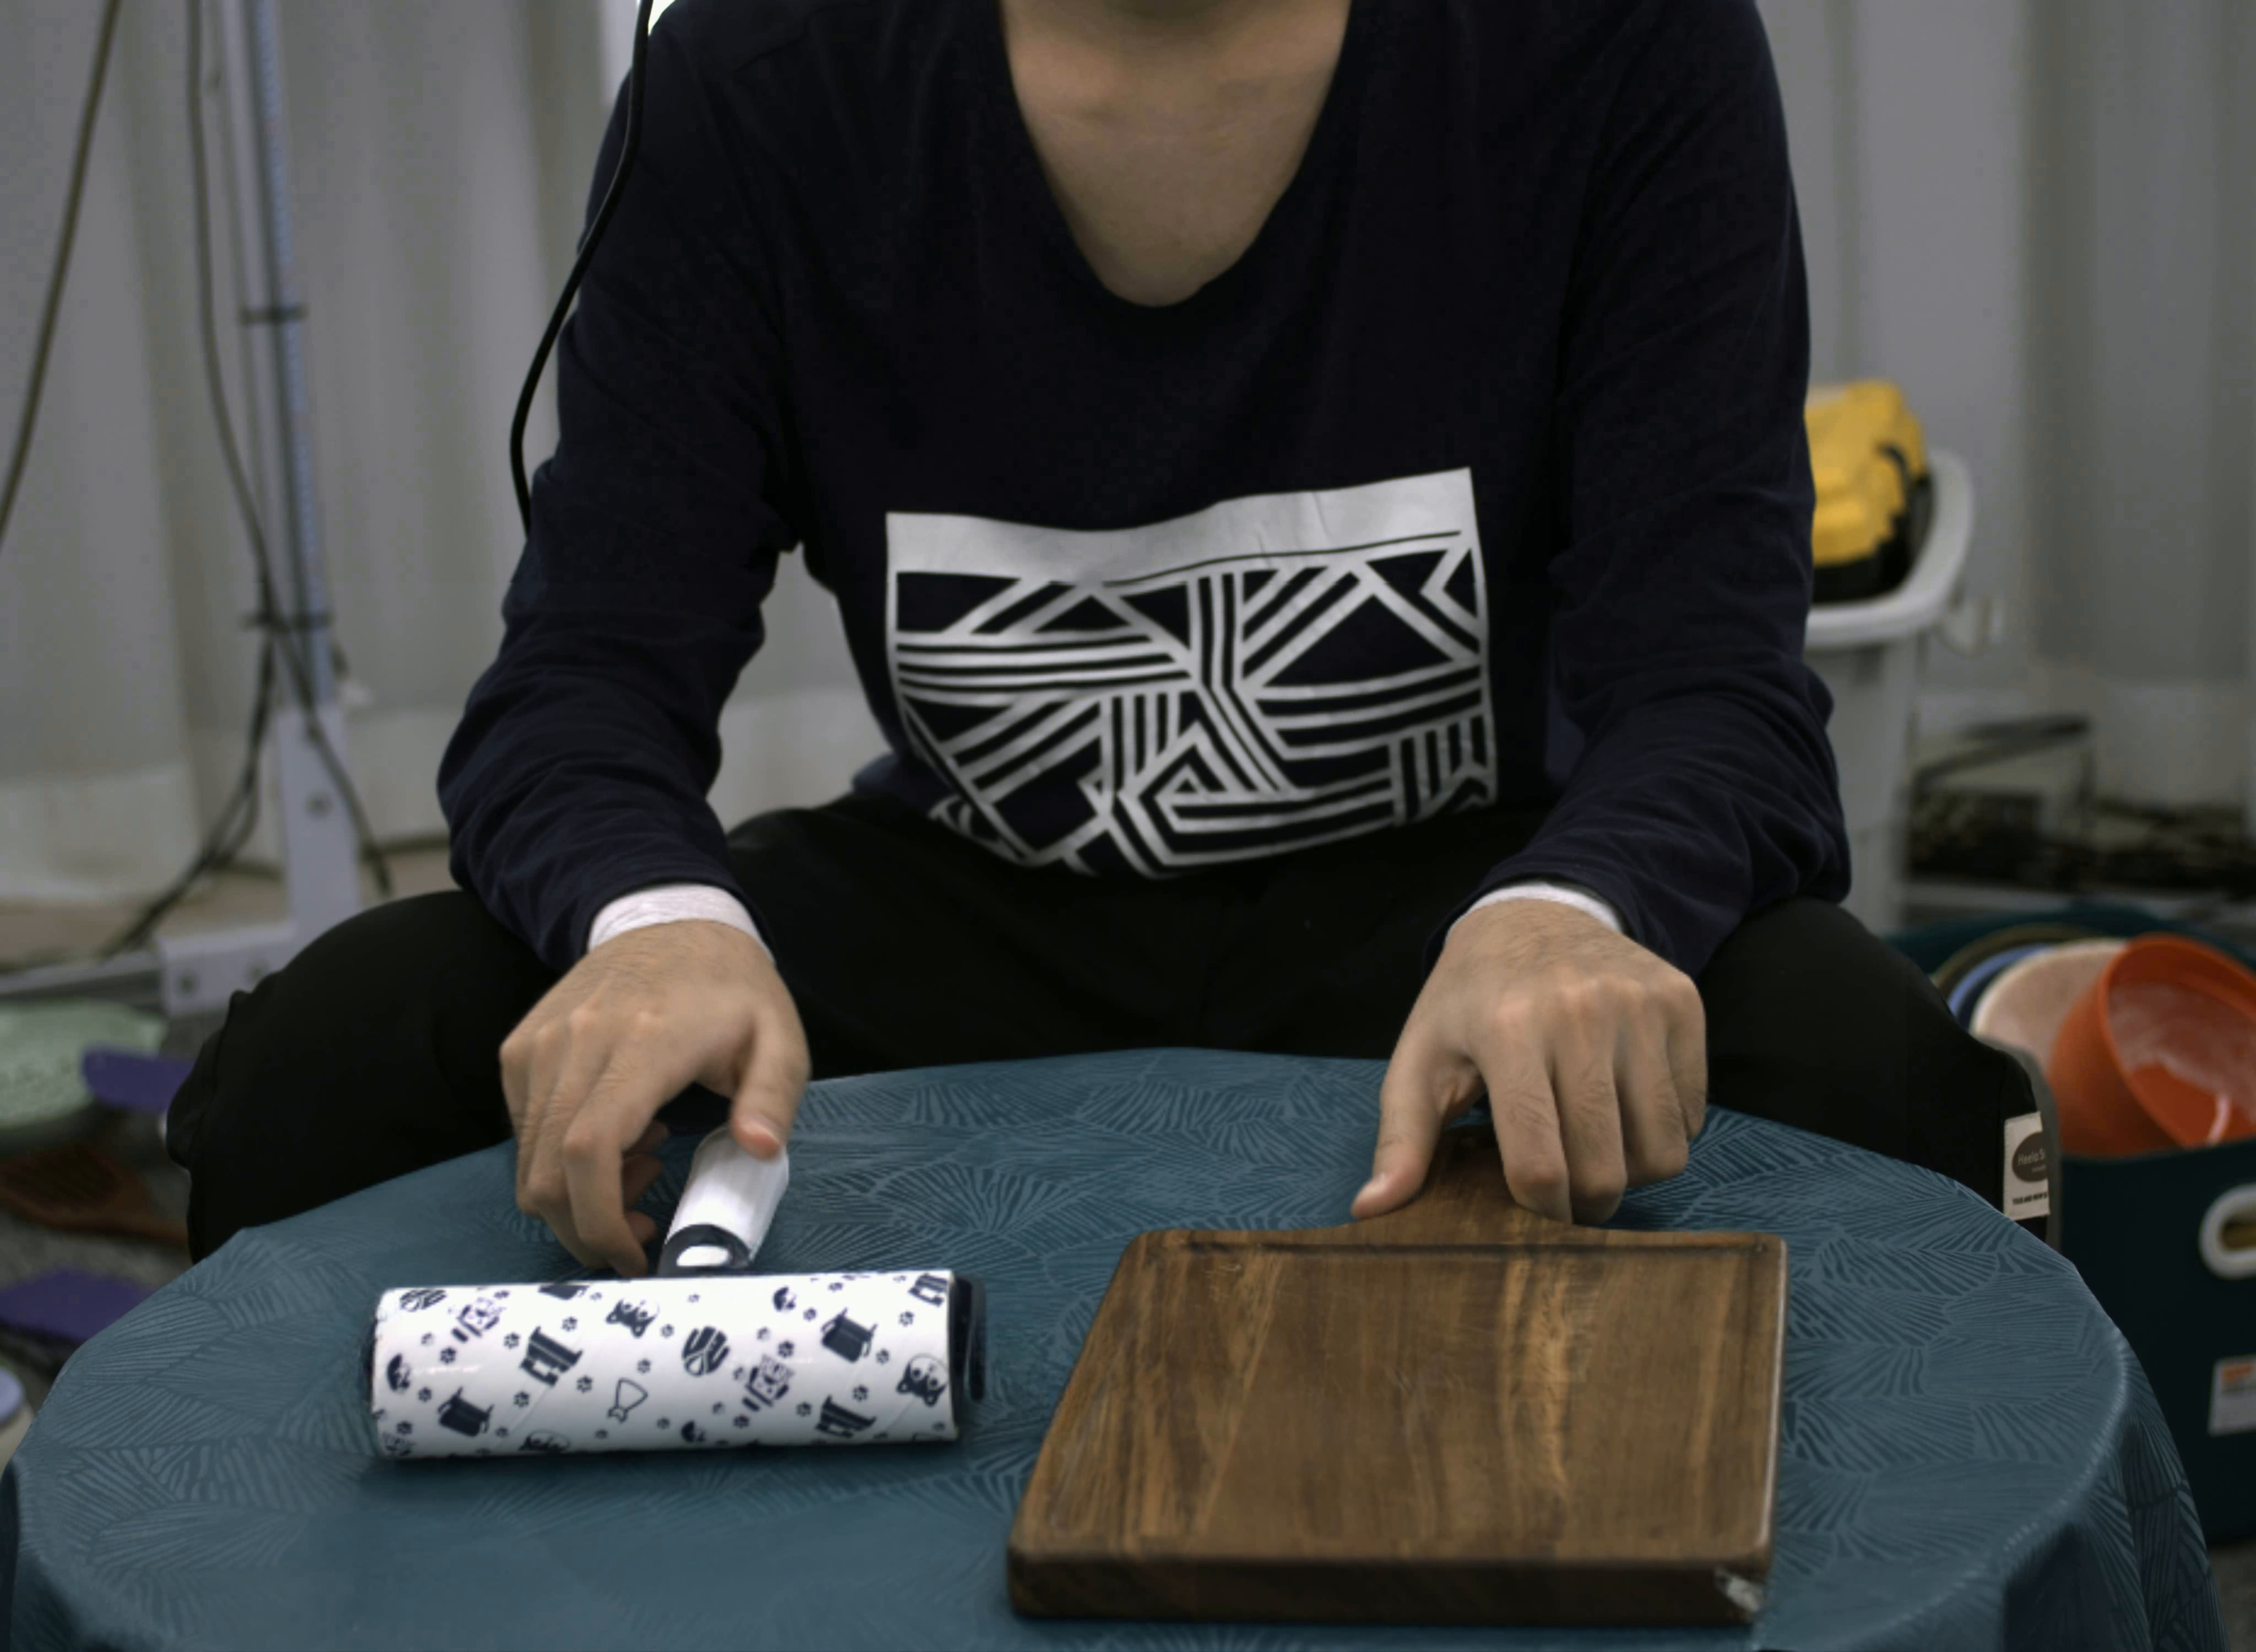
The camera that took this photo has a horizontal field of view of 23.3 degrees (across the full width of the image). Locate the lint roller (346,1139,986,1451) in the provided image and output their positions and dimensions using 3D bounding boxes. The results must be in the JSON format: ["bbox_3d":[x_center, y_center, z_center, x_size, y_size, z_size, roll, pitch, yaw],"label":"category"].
[{"bbox_3d":[-0.126,0.126,1.618,0.176,0.050,0.248,-3,12,2],"label":"lint roller"}]

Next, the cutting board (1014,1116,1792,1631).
[{"bbox_3d":[0.087,0.147,1.538,0.200,0.023,0.354,0,15,8],"label":"cutting board"}]
